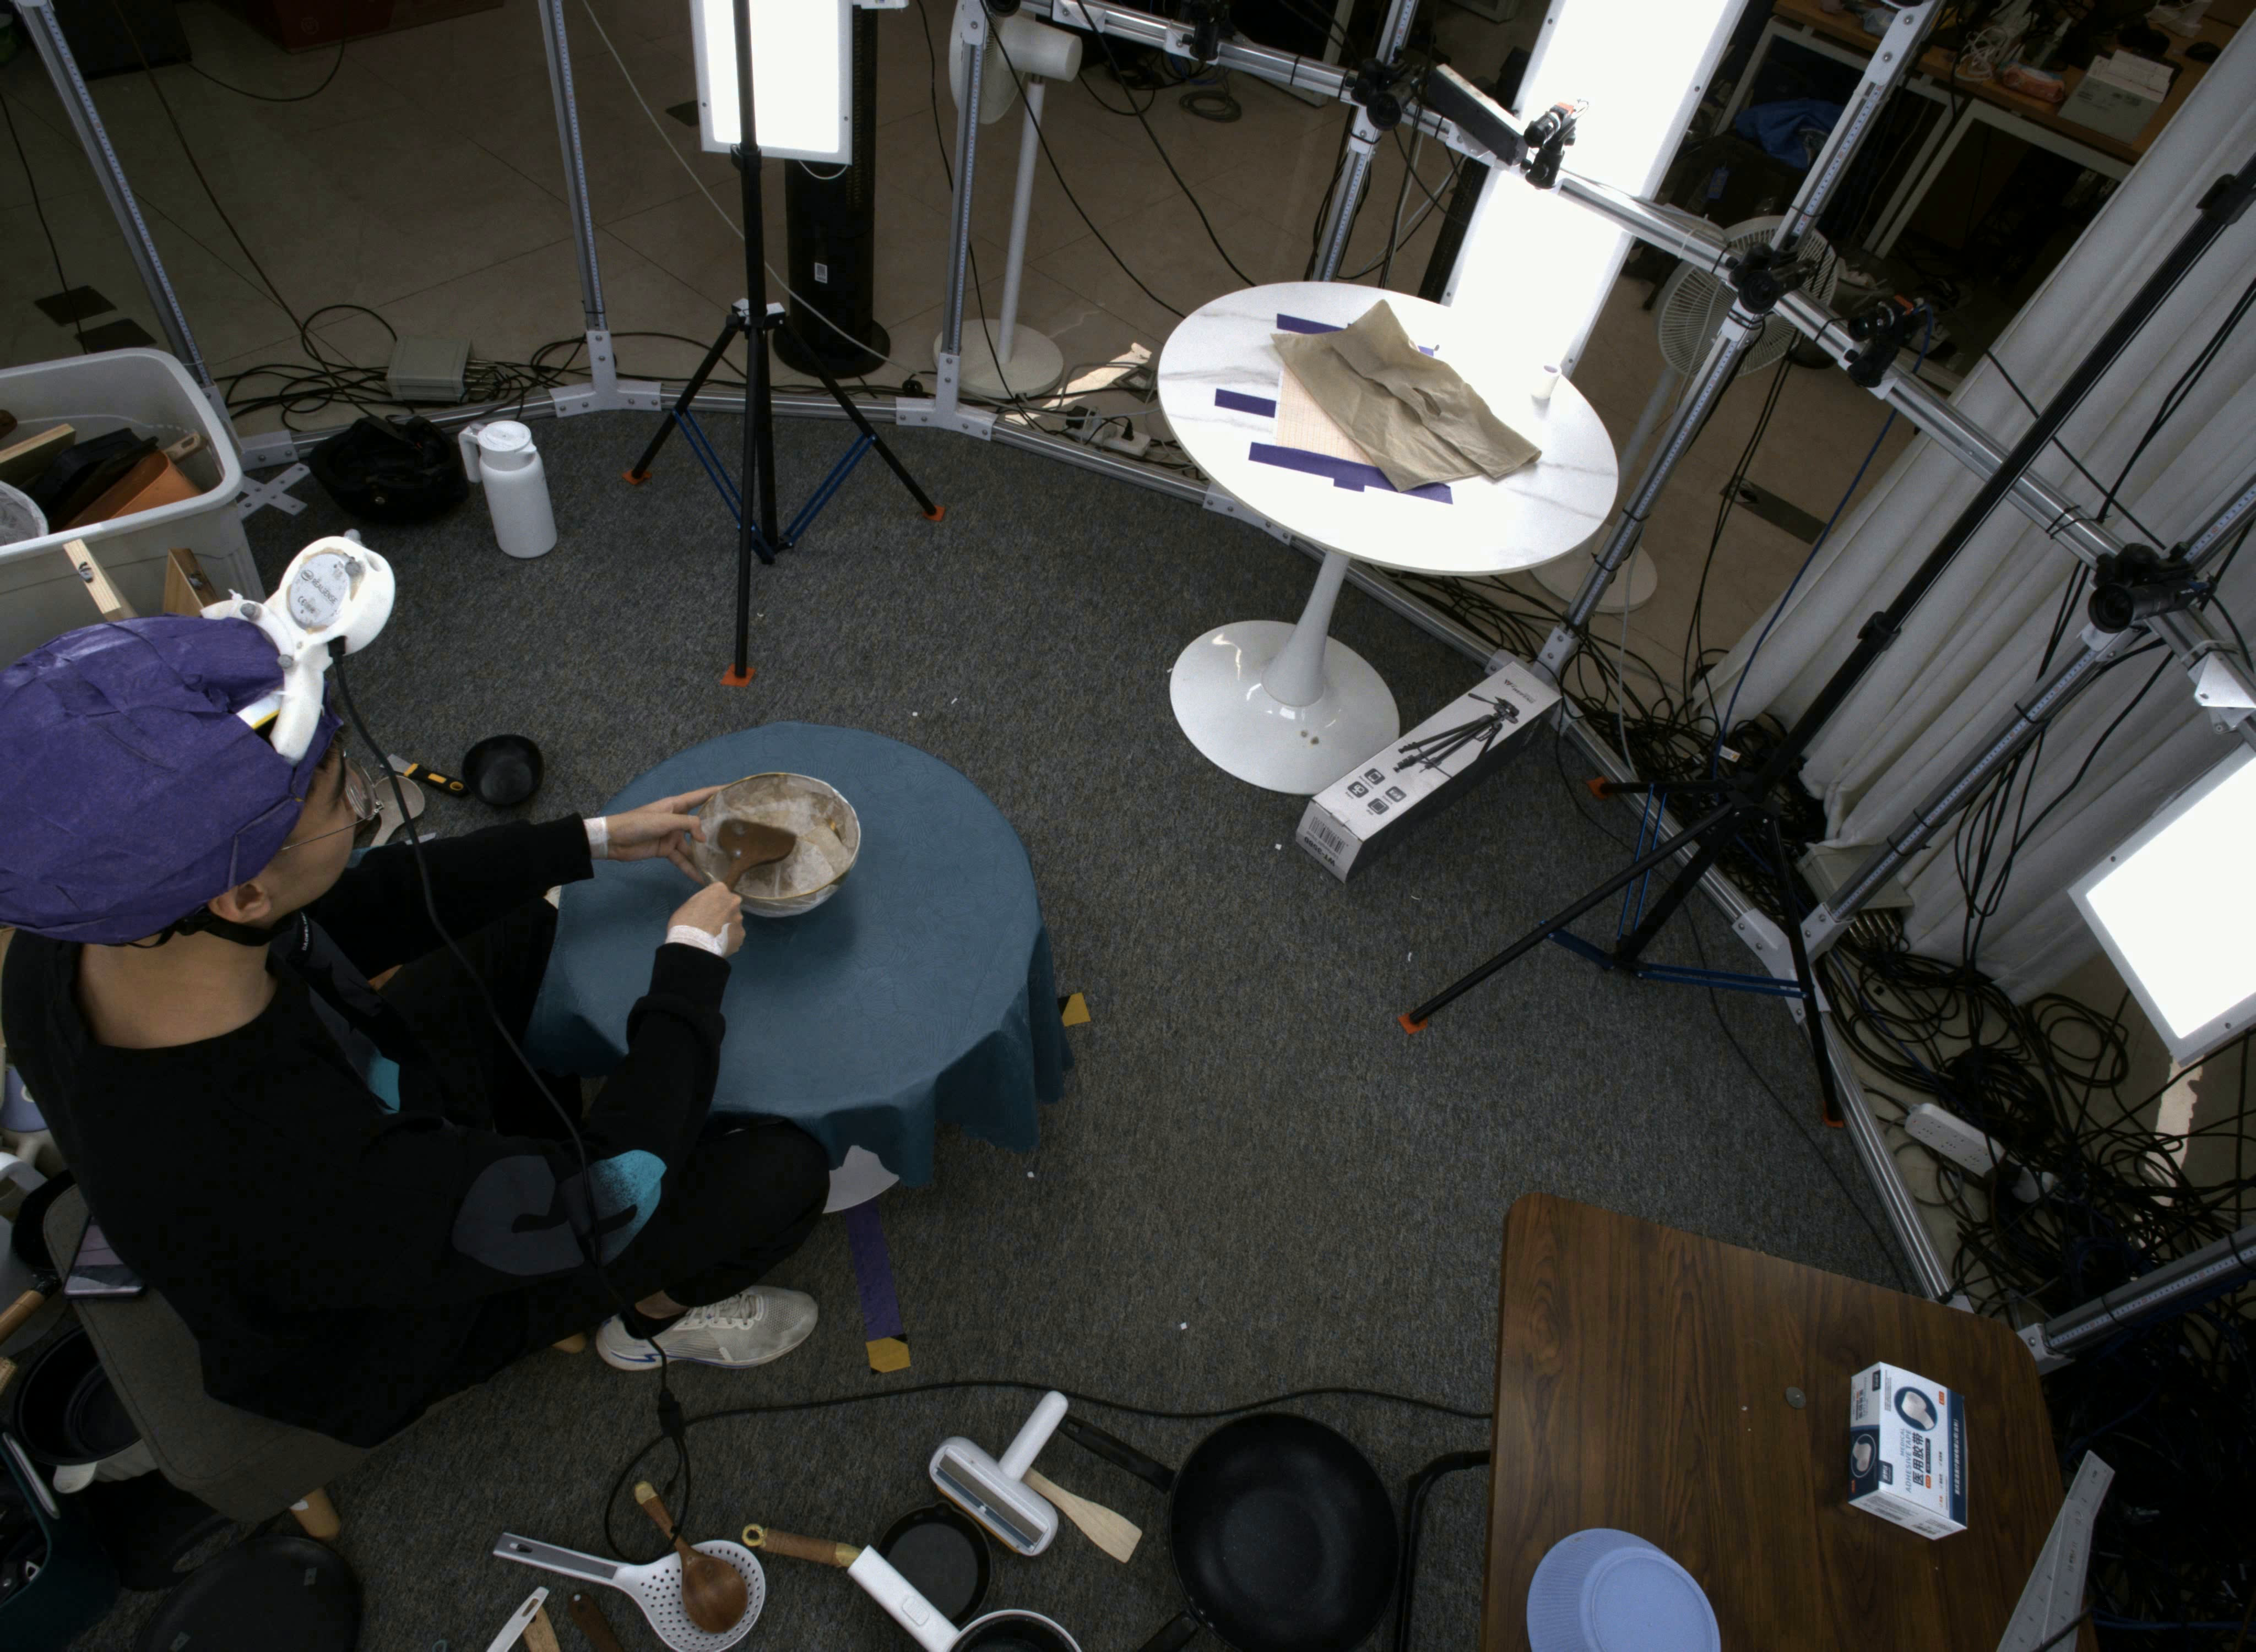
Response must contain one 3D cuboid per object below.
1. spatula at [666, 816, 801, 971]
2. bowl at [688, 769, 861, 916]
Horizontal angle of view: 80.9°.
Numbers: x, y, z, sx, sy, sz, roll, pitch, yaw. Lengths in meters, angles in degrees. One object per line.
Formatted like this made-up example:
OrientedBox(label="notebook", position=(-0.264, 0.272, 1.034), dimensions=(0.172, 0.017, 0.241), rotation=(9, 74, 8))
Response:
OrientedBox(label="spatula", position=(-0.458, 0.067, 1.473), dimensions=(0.096, 0.016, 0.378), rotation=(16, 21, -7))
OrientedBox(label="bowl", position=(-0.437, 0.034, 1.604), dimensions=(0.214, 0.096, 0.211), rotation=(8, 51, -8))
